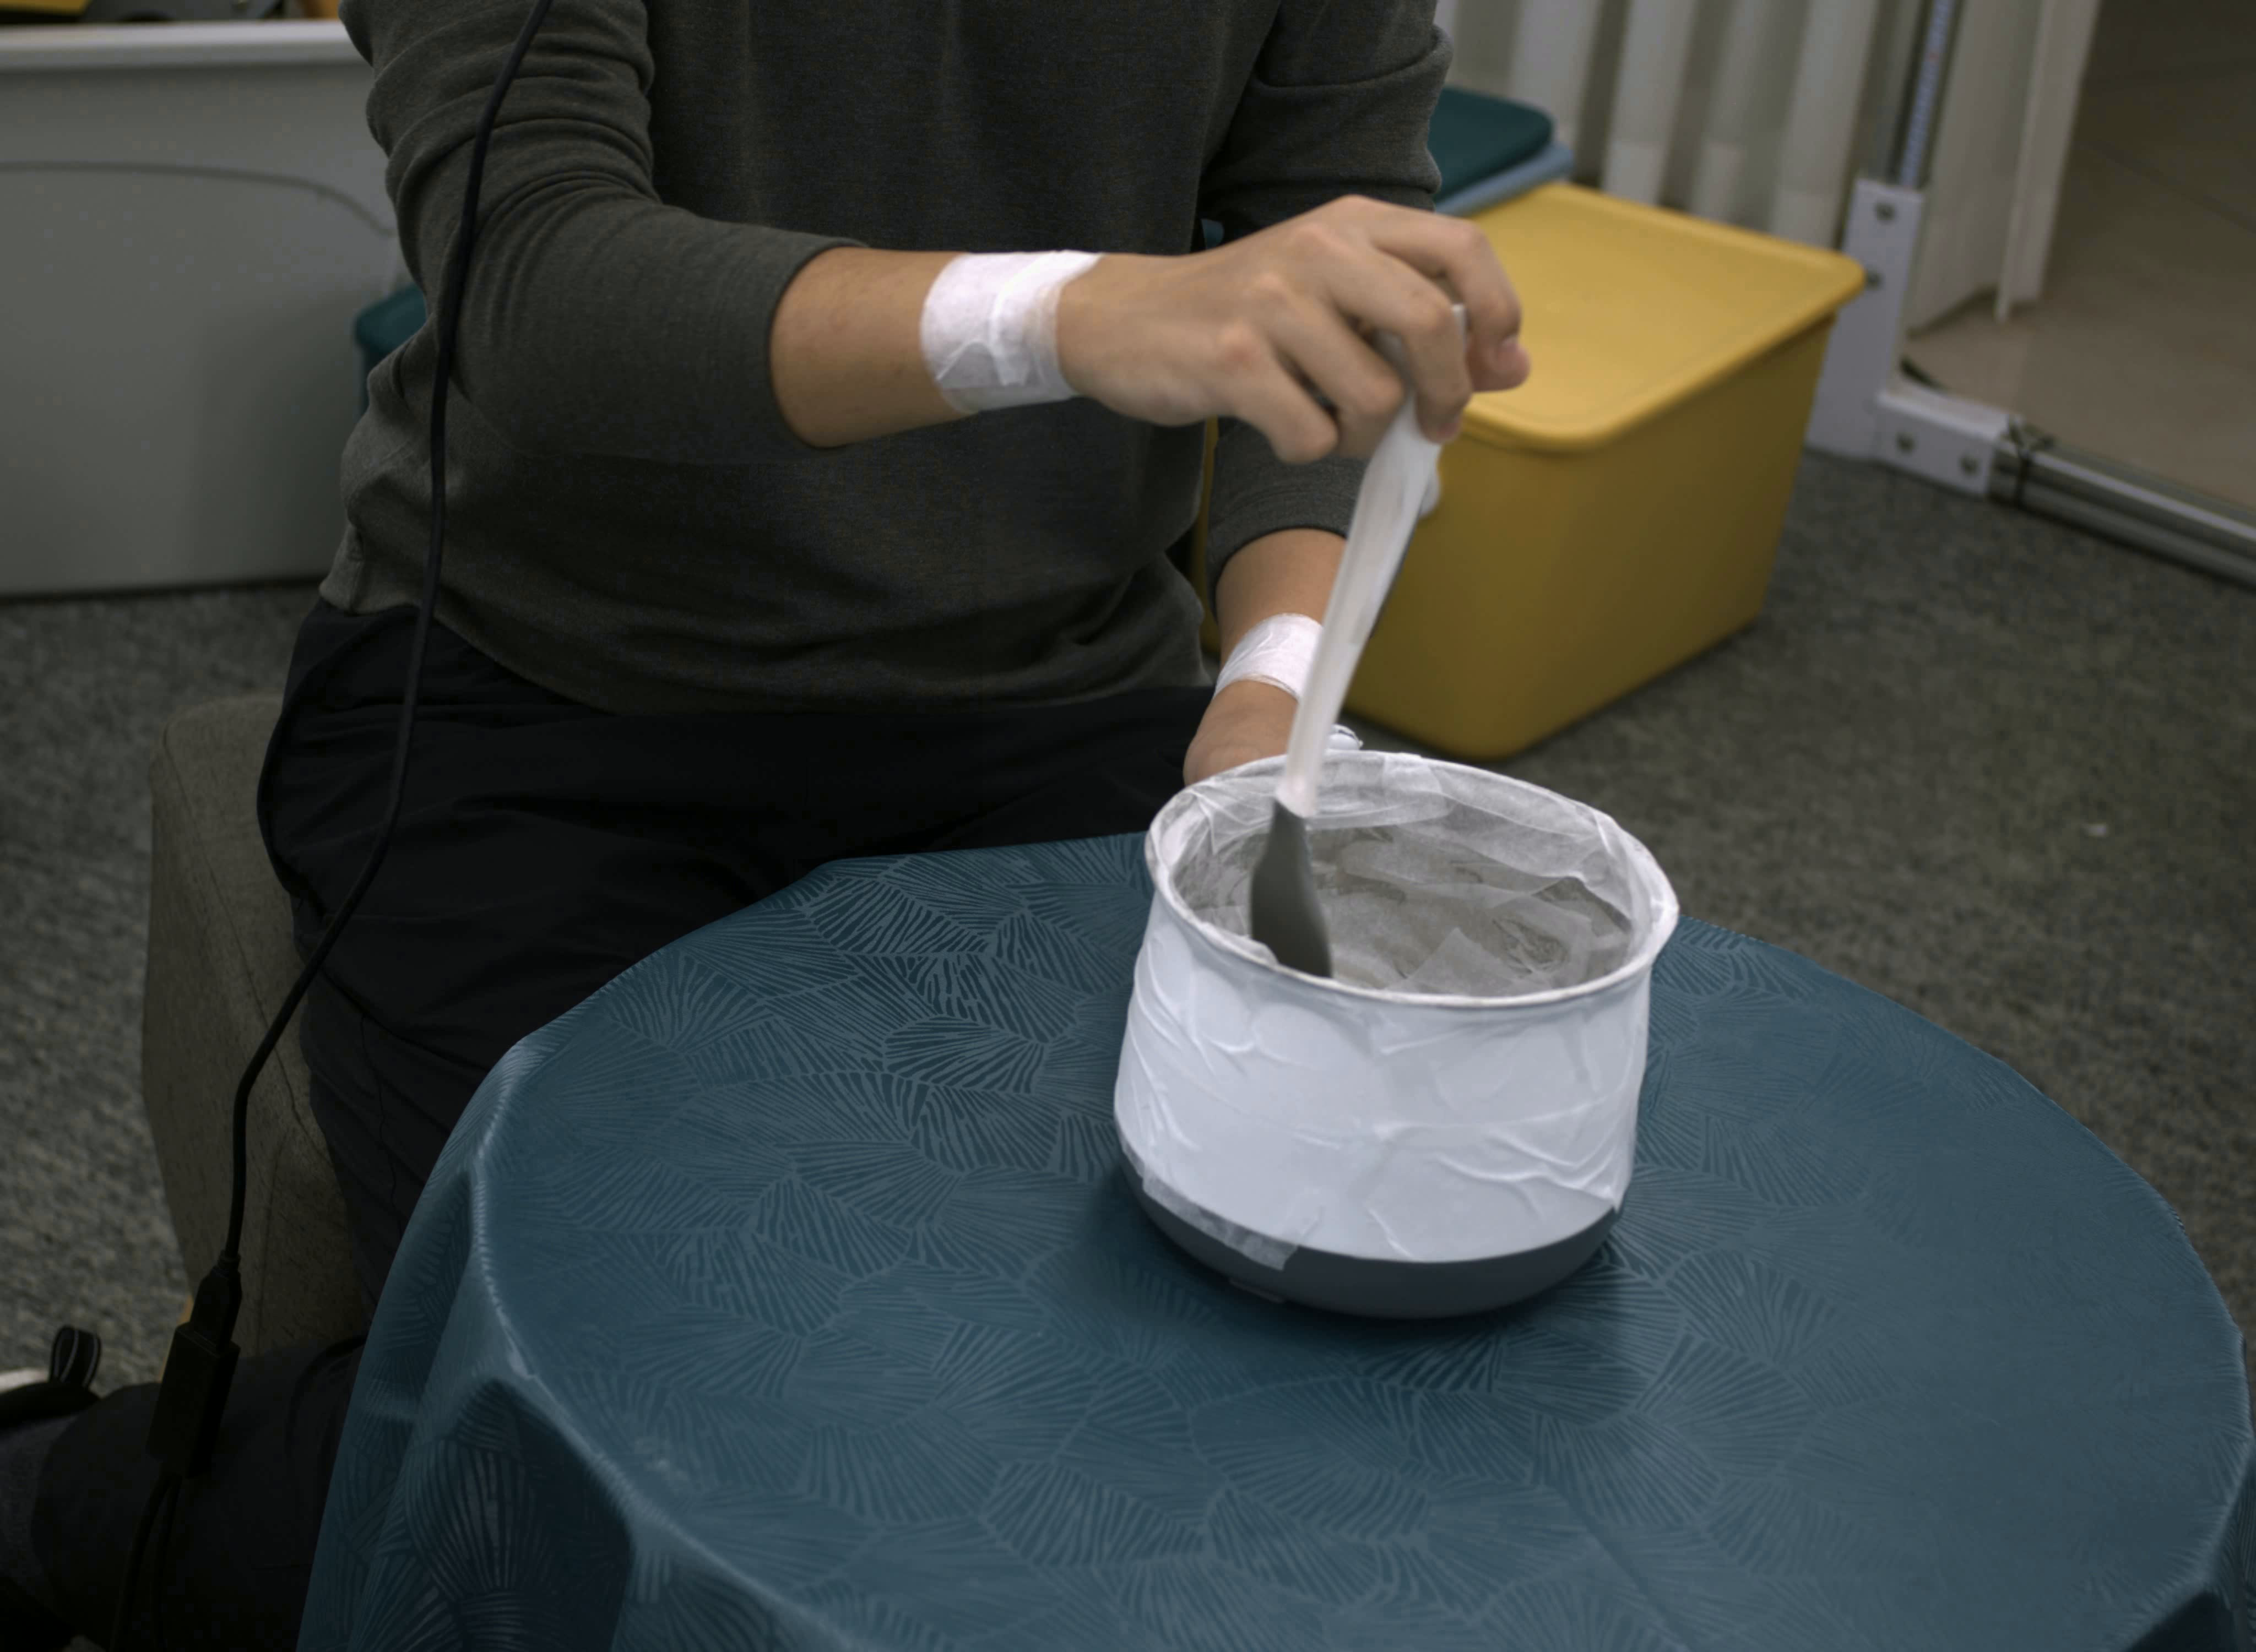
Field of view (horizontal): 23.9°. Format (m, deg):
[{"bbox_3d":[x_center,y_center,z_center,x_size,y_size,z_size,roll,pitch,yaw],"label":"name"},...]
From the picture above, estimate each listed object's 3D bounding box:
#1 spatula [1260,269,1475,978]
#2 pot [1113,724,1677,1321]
[{"bbox_3d":[0.071,-0.039,1.704,0.032,0.287,0.059,-6,29,-30],"label":"spatula"},{"bbox_3d":[0.079,0.059,1.801,0.178,0.136,0.235,-1,27,-15],"label":"pot"}]
